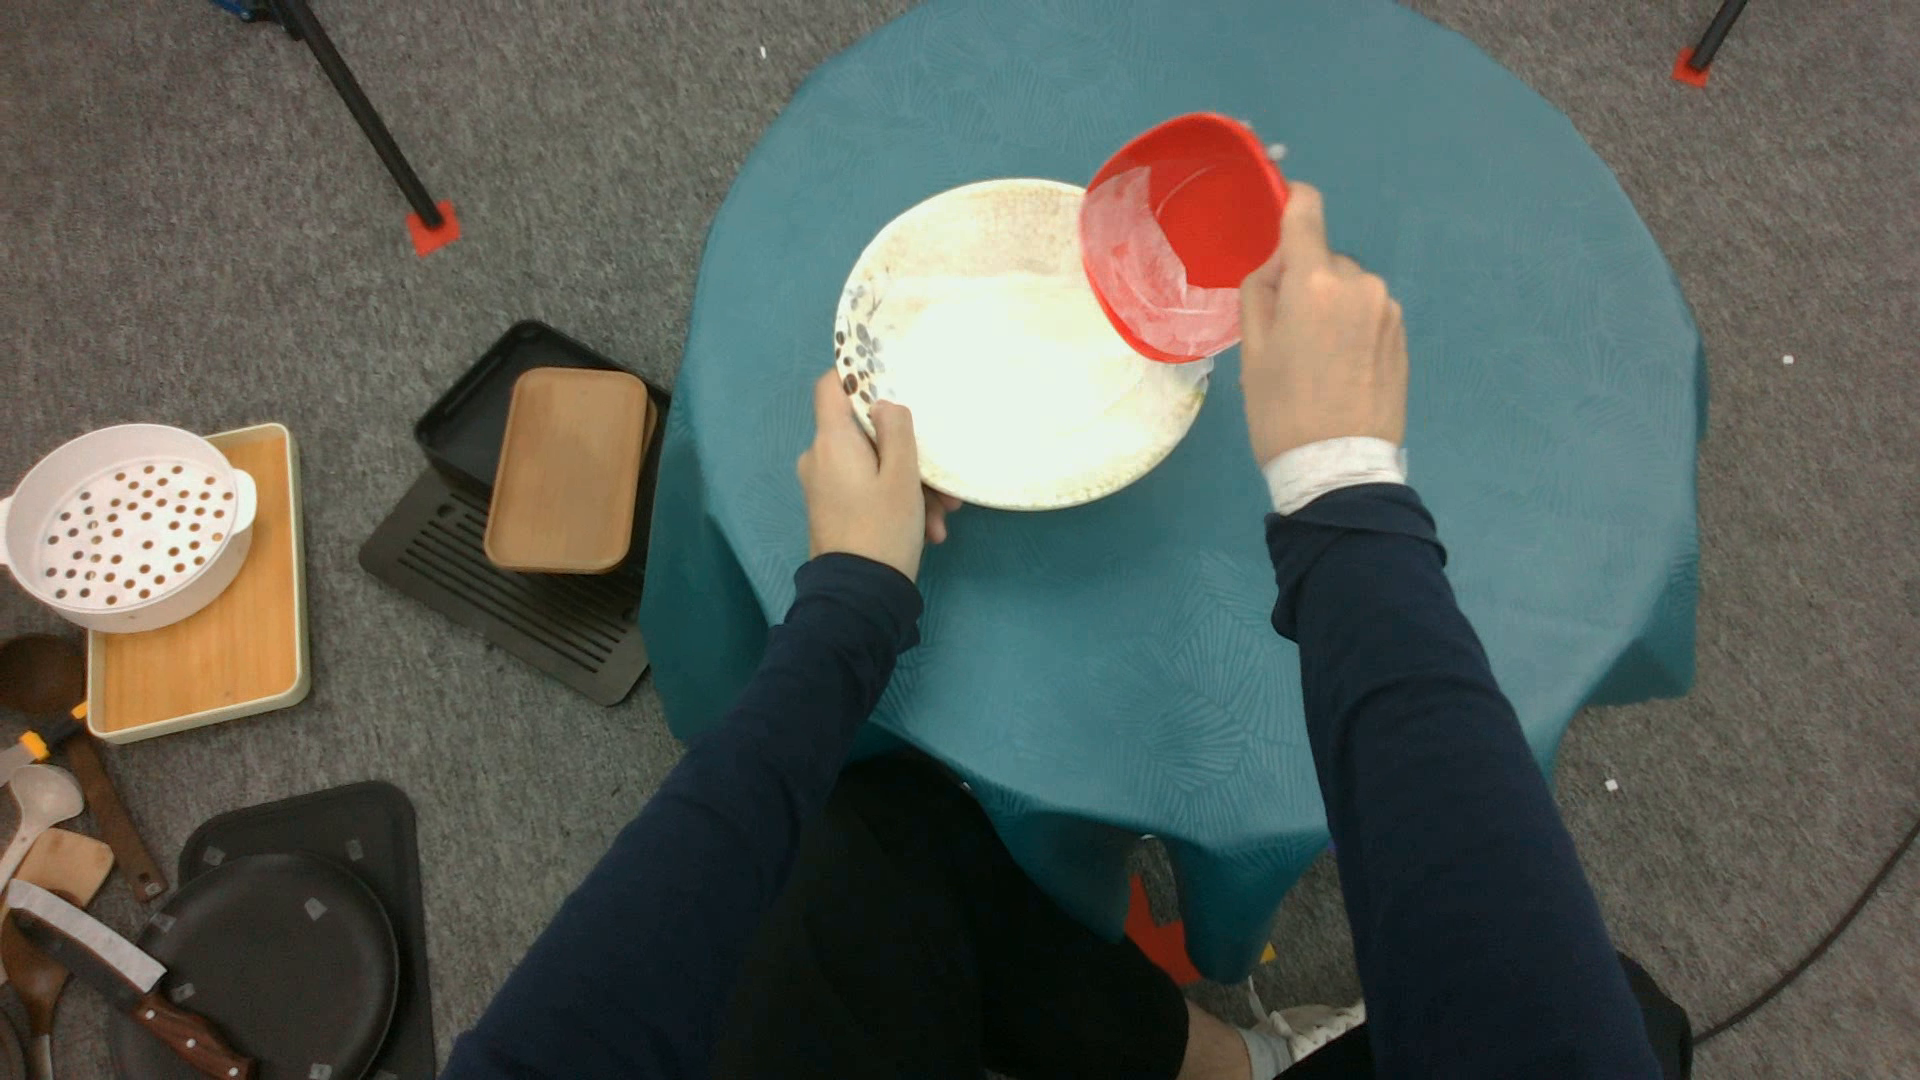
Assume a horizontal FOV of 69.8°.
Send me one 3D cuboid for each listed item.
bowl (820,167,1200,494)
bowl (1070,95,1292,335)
[{"bbox_3d":[0.027,-0.104,0.771,0.204,0.077,0.204,0,67,0],"label":"bowl"},{"bbox_3d":[0.116,-0.164,0.676,0.119,0.118,0.051,42,51,16],"label":"bowl"}]
